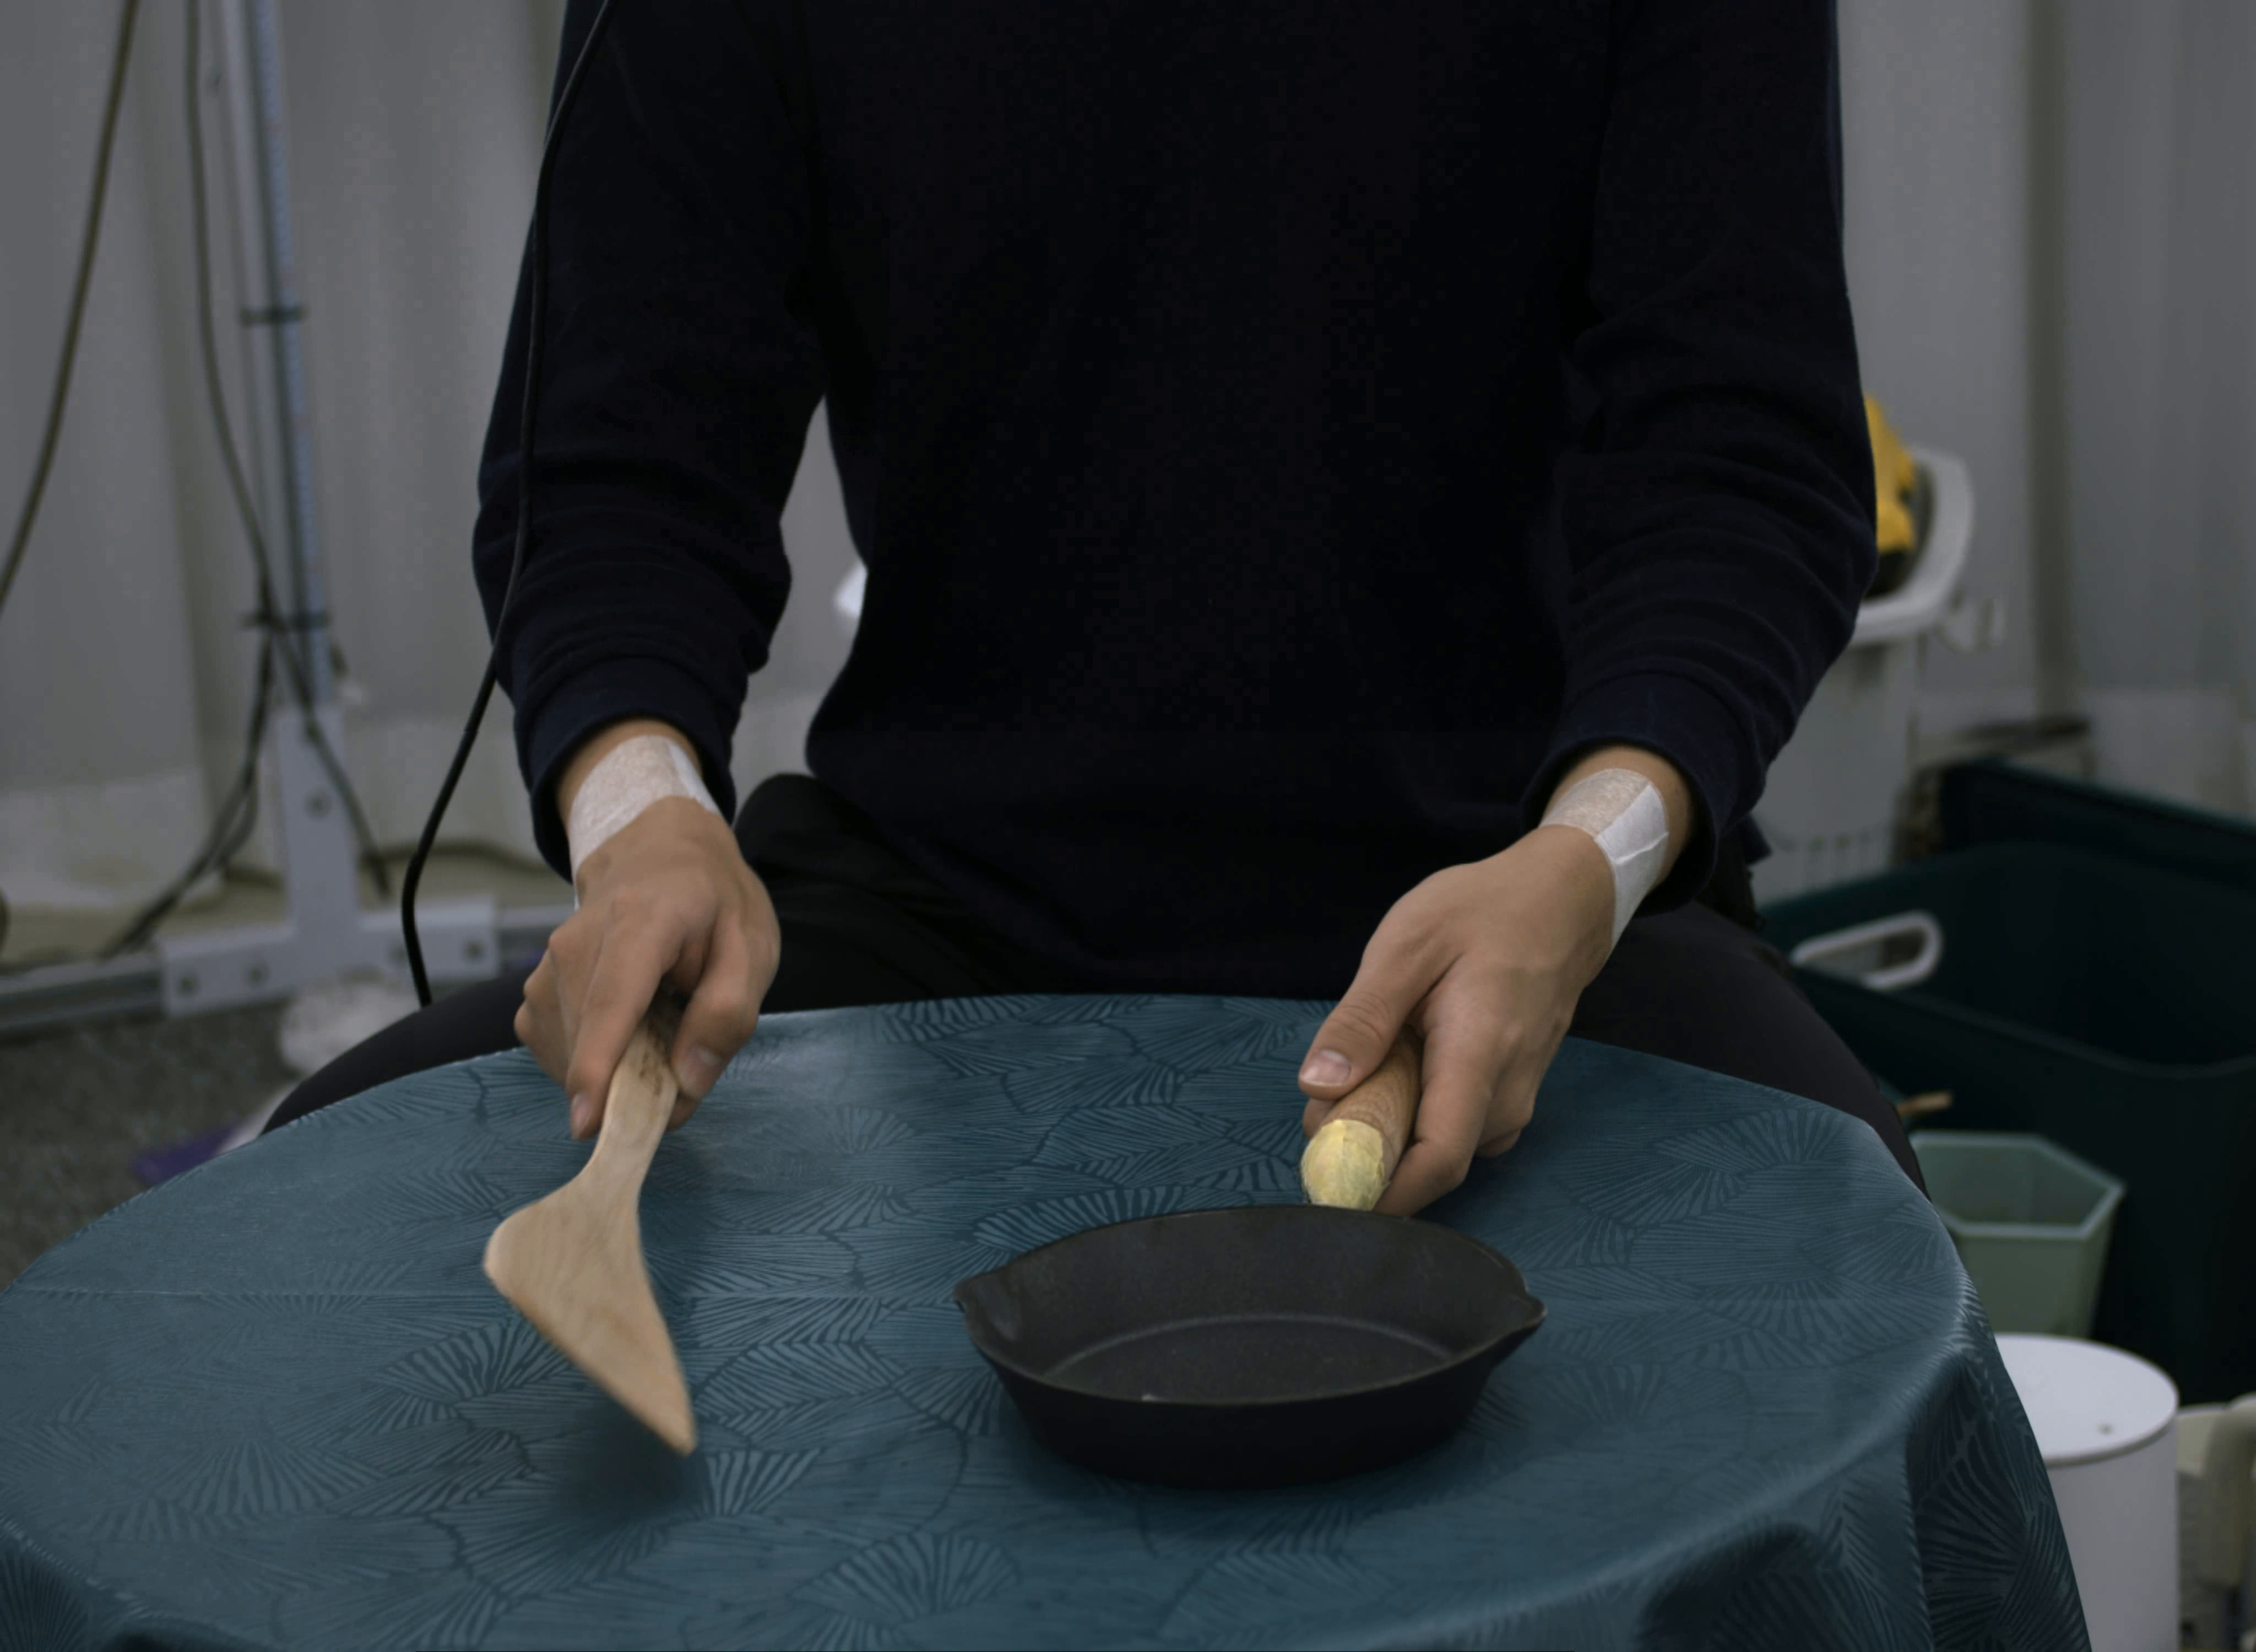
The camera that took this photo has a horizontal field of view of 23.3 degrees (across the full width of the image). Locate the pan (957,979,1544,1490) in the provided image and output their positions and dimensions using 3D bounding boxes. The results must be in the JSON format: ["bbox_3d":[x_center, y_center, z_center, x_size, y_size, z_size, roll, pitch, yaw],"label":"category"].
[{"bbox_3d":[0.058,0.116,1.601,0.169,0.049,0.325,2,17,18],"label":"pan"}]

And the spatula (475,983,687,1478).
[{"bbox_3d":[-0.150,0.107,1.614,0.016,0.079,0.330,-42,13,12],"label":"spatula"}]
